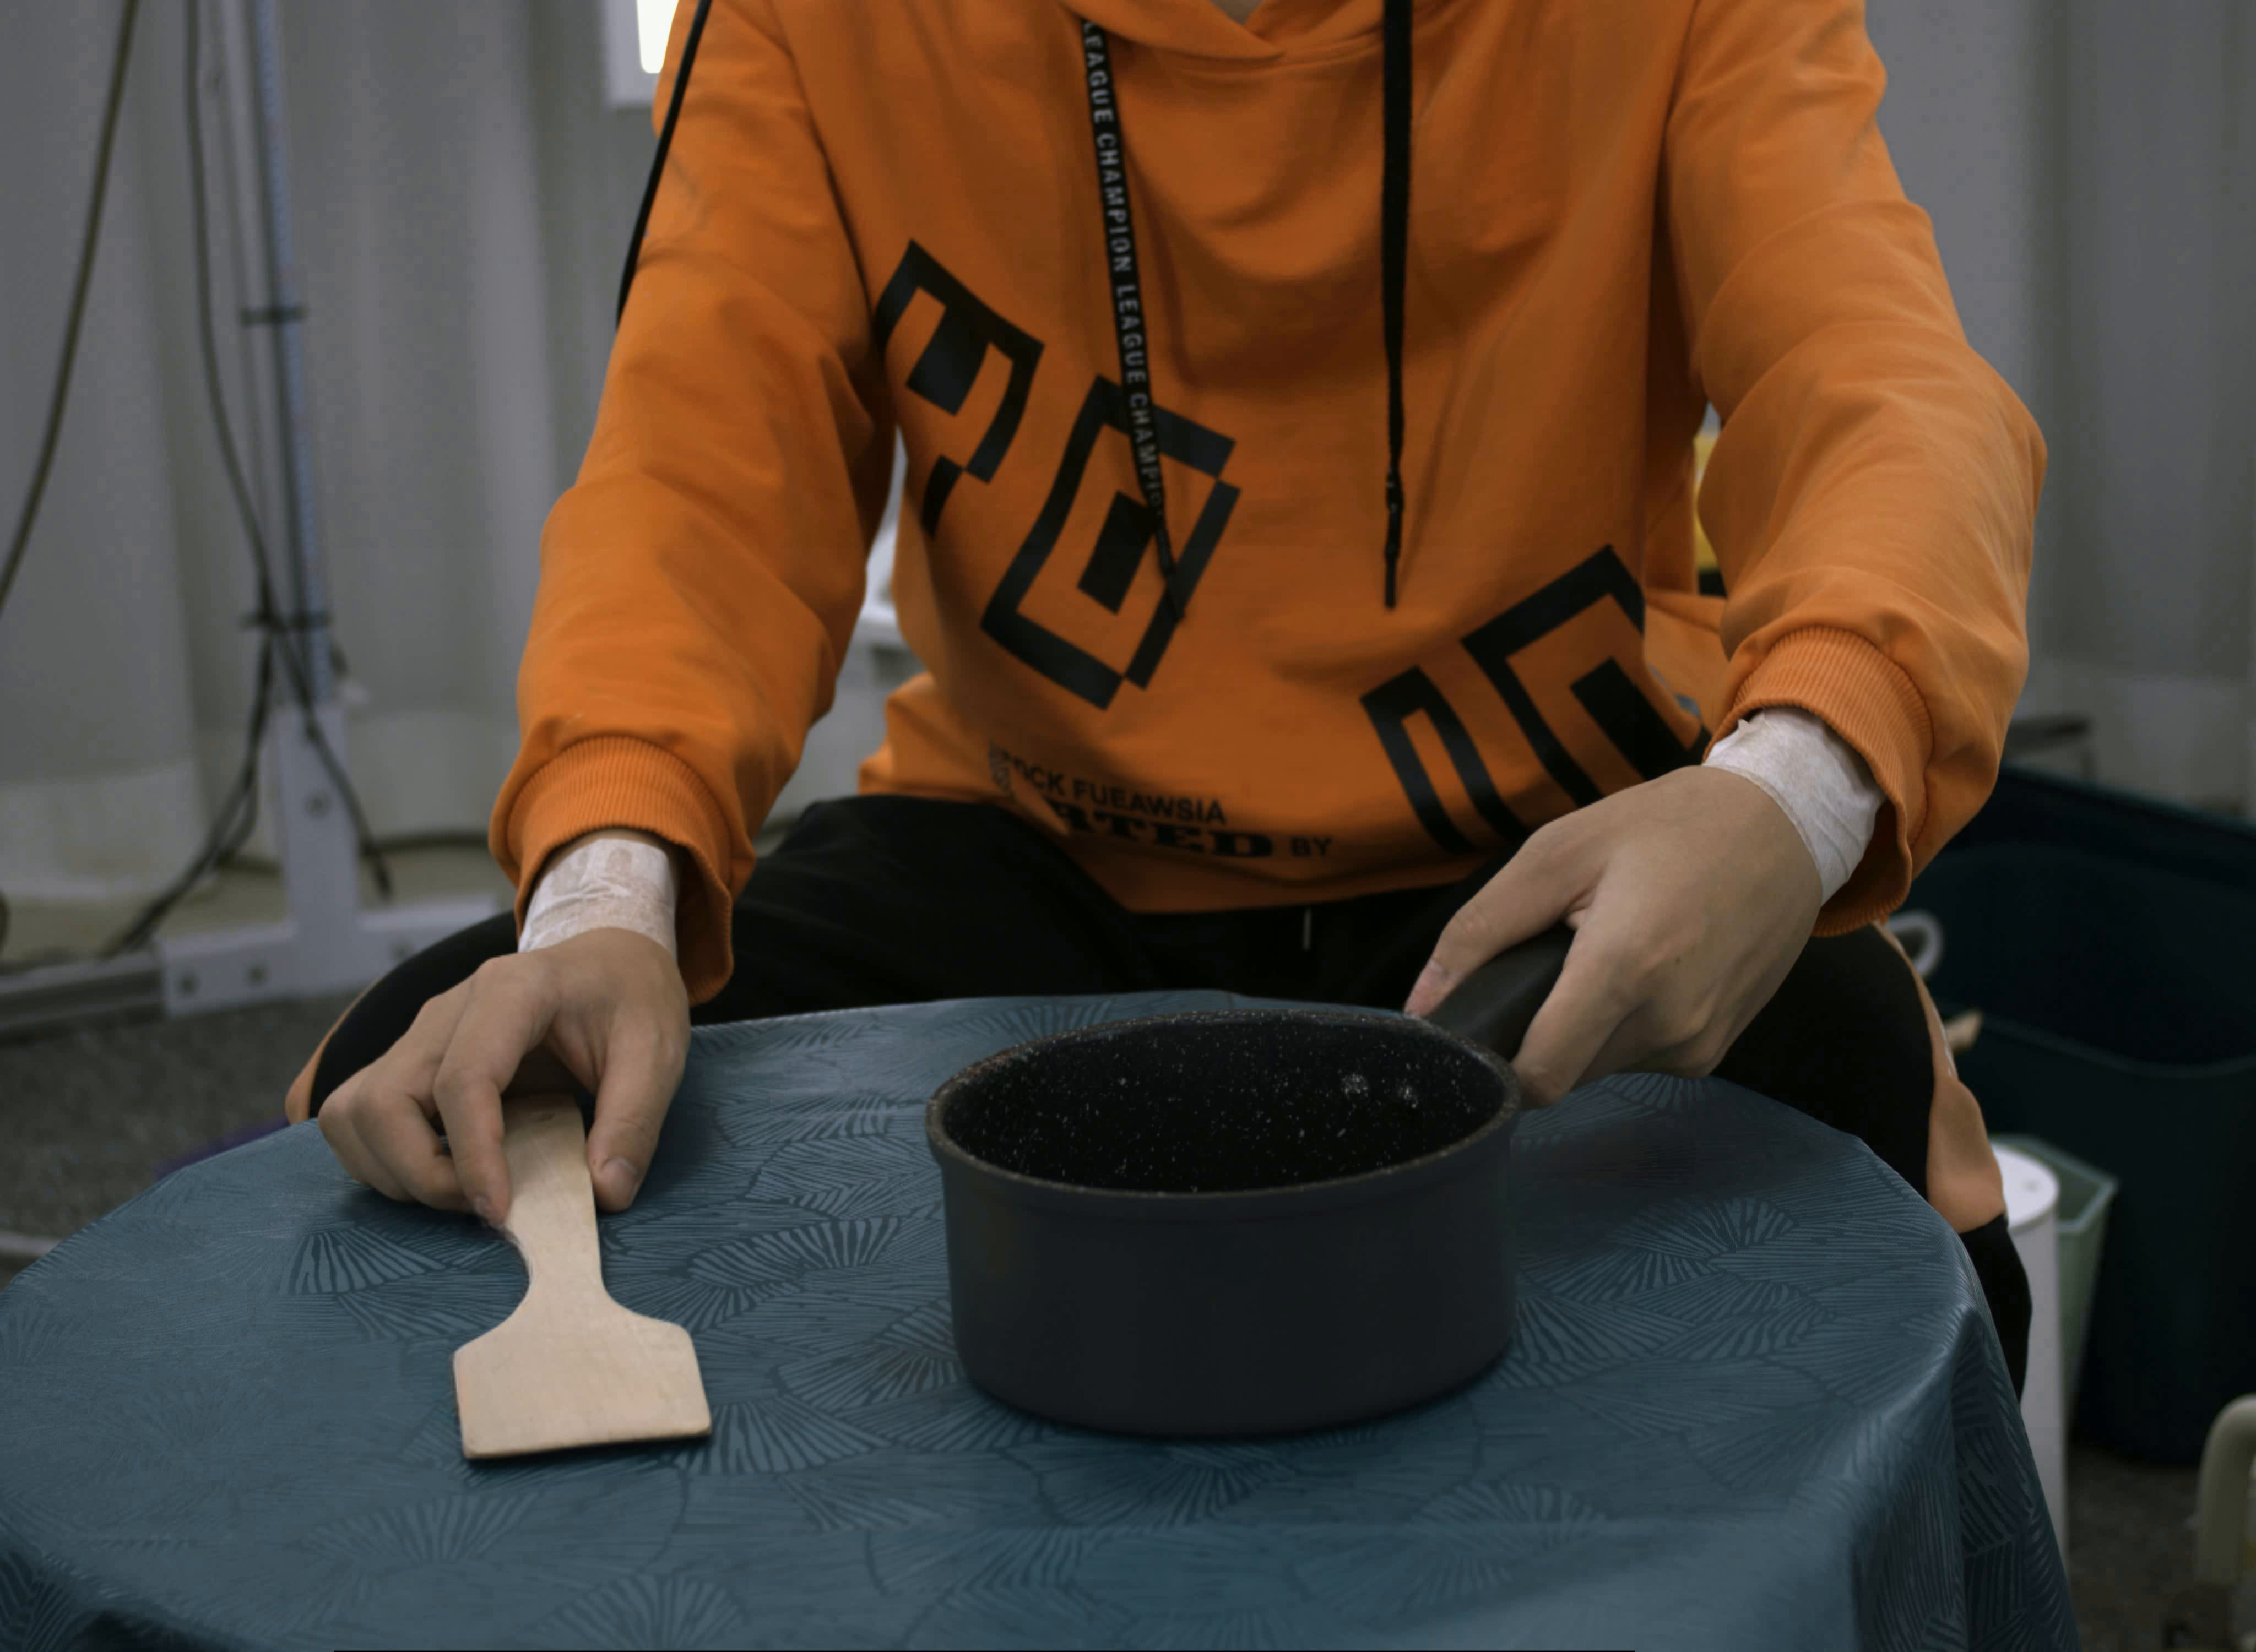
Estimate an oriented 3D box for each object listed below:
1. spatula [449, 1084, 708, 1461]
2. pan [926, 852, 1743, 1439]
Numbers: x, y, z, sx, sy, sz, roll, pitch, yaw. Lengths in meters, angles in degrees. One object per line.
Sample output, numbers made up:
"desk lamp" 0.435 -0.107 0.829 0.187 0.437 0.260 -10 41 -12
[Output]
"spatula" -0.172 0.131 1.655 0.072 0.010 0.295 -7 18 -6
"pan" 0.079 0.091 1.626 0.173 0.086 0.328 10 21 39
